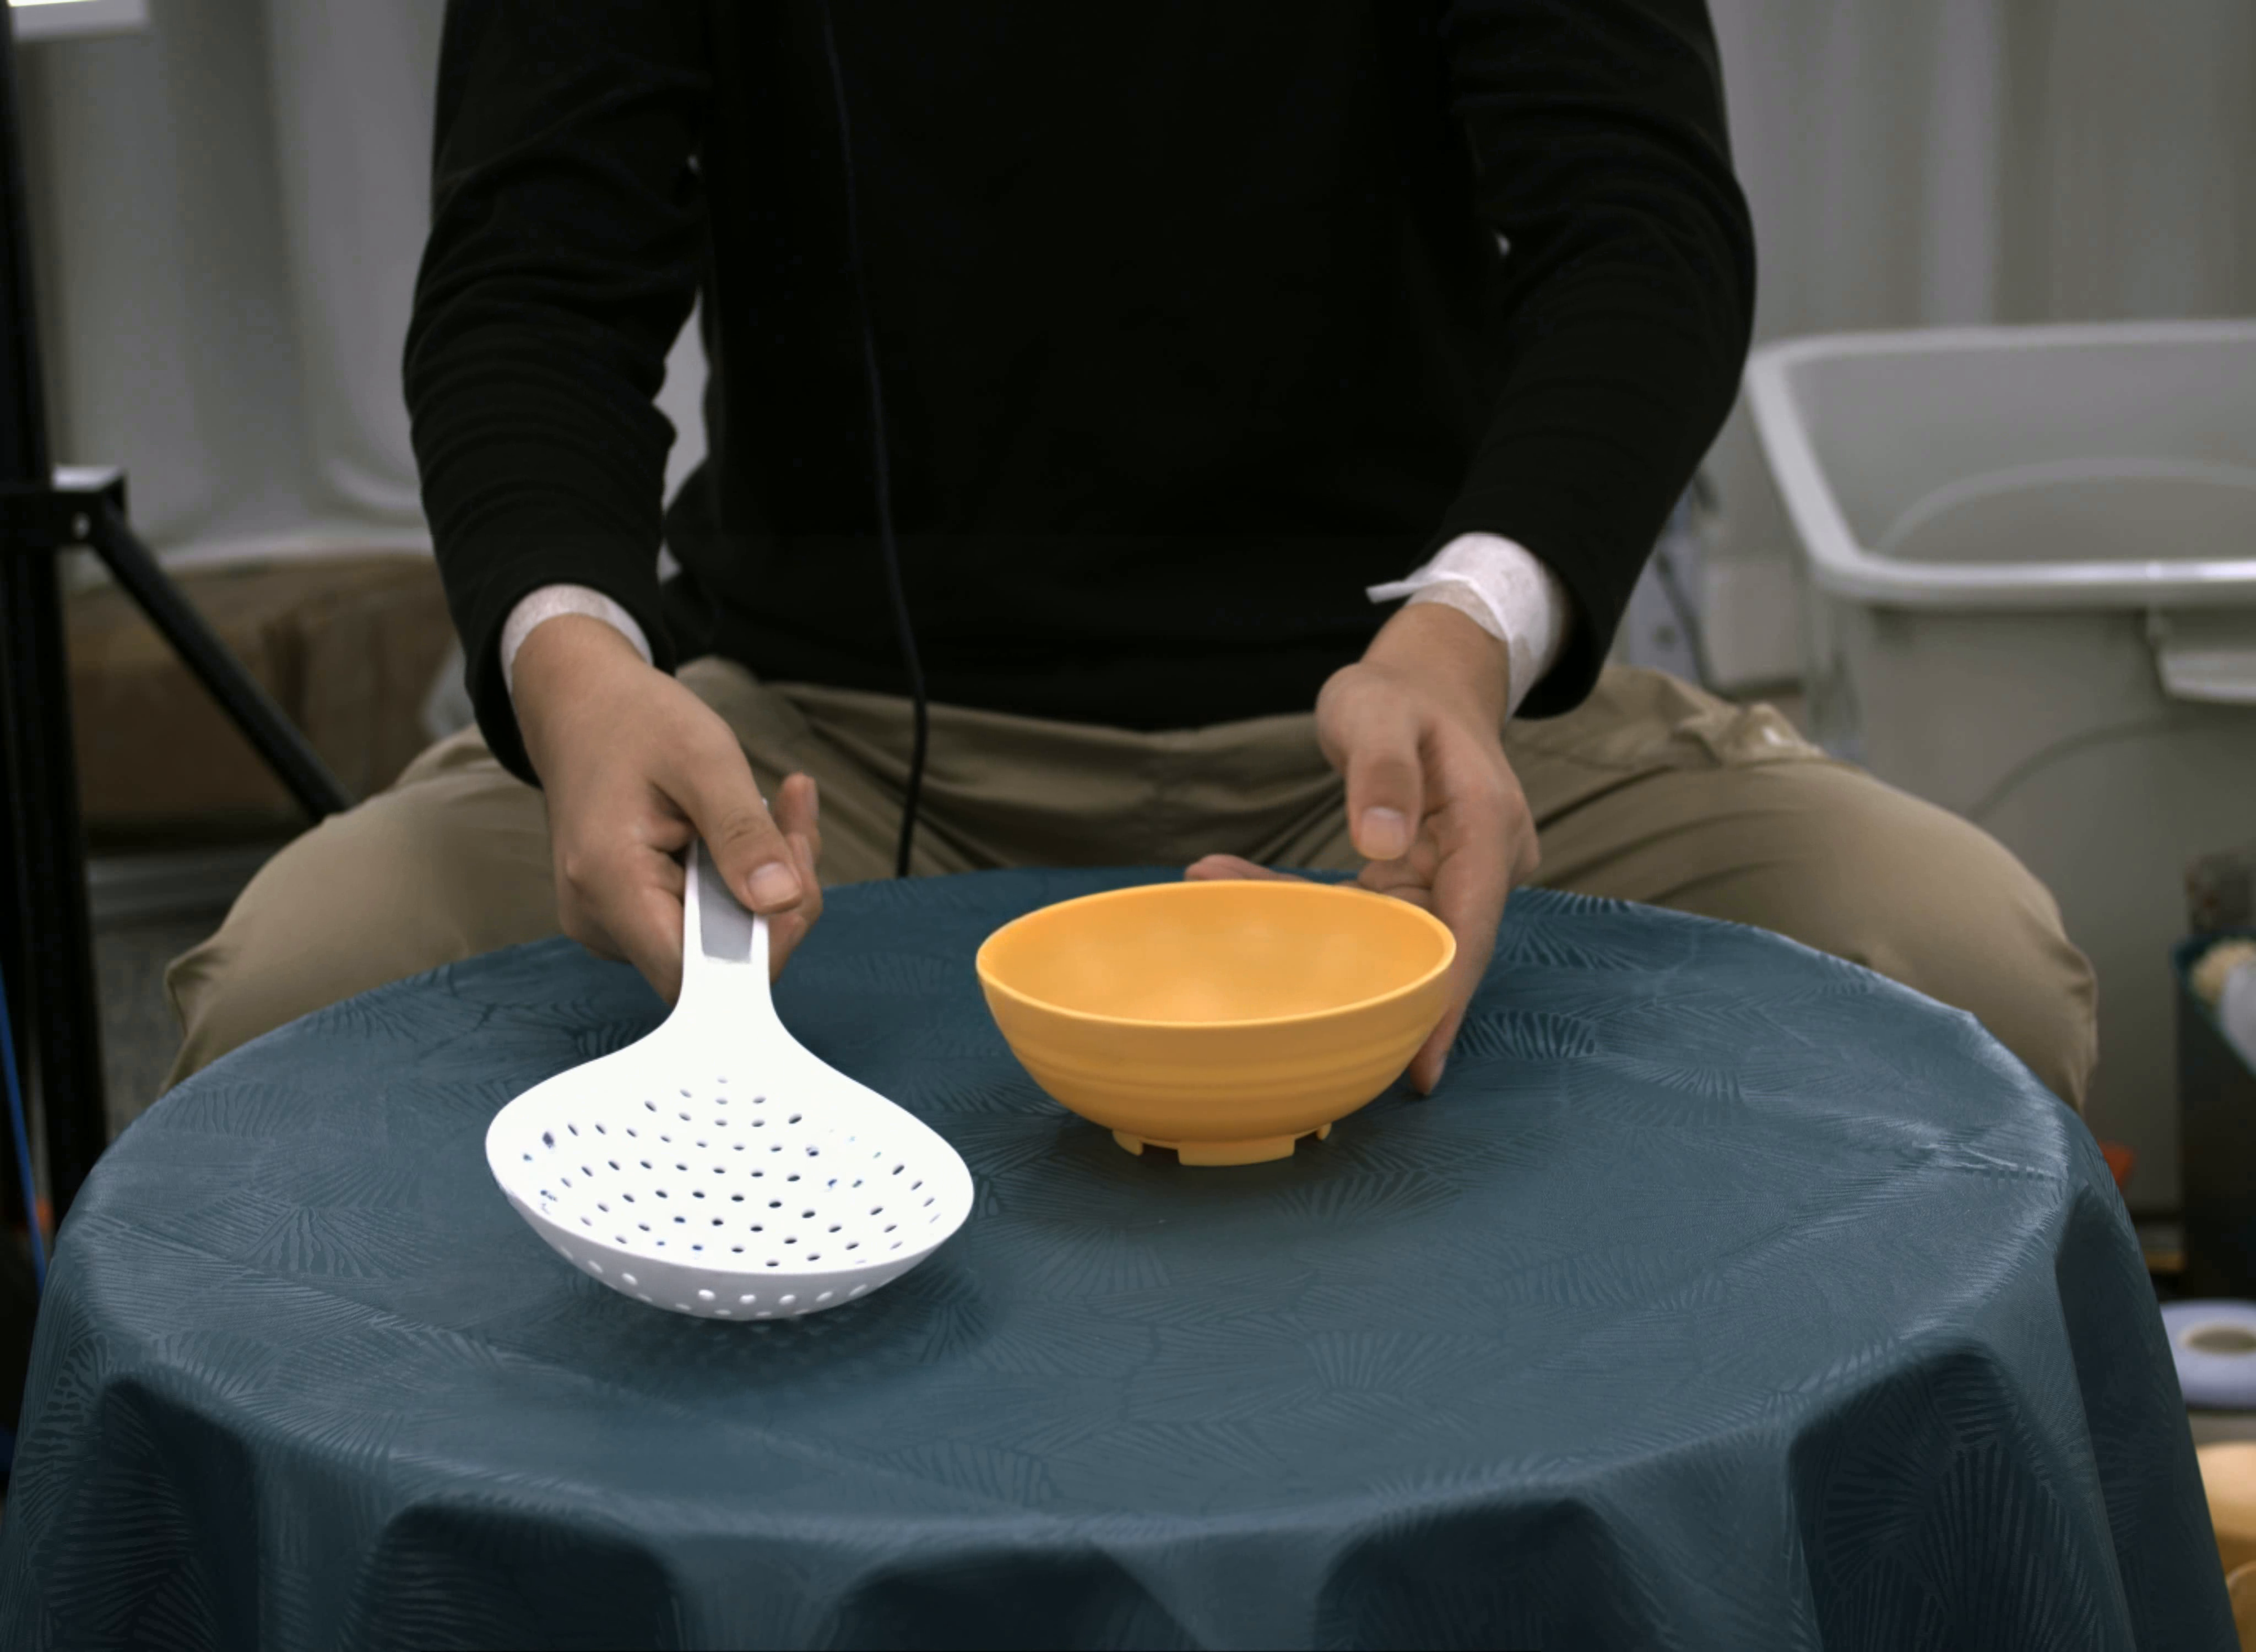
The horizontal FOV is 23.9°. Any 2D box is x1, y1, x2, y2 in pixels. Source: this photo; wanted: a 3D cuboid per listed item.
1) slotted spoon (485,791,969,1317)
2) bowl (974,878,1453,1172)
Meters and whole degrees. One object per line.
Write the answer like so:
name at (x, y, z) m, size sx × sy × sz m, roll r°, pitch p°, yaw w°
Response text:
slotted spoon at (-0.120, 0.060, 1.581) m, size 0.135 × 0.046 × 0.353 m, roll 5°, pitch 26°, yaw -6°
bowl at (0.025, 0.066, 1.601) m, size 0.144 × 0.060 × 0.146 m, roll -1°, pitch 17°, yaw -1°
